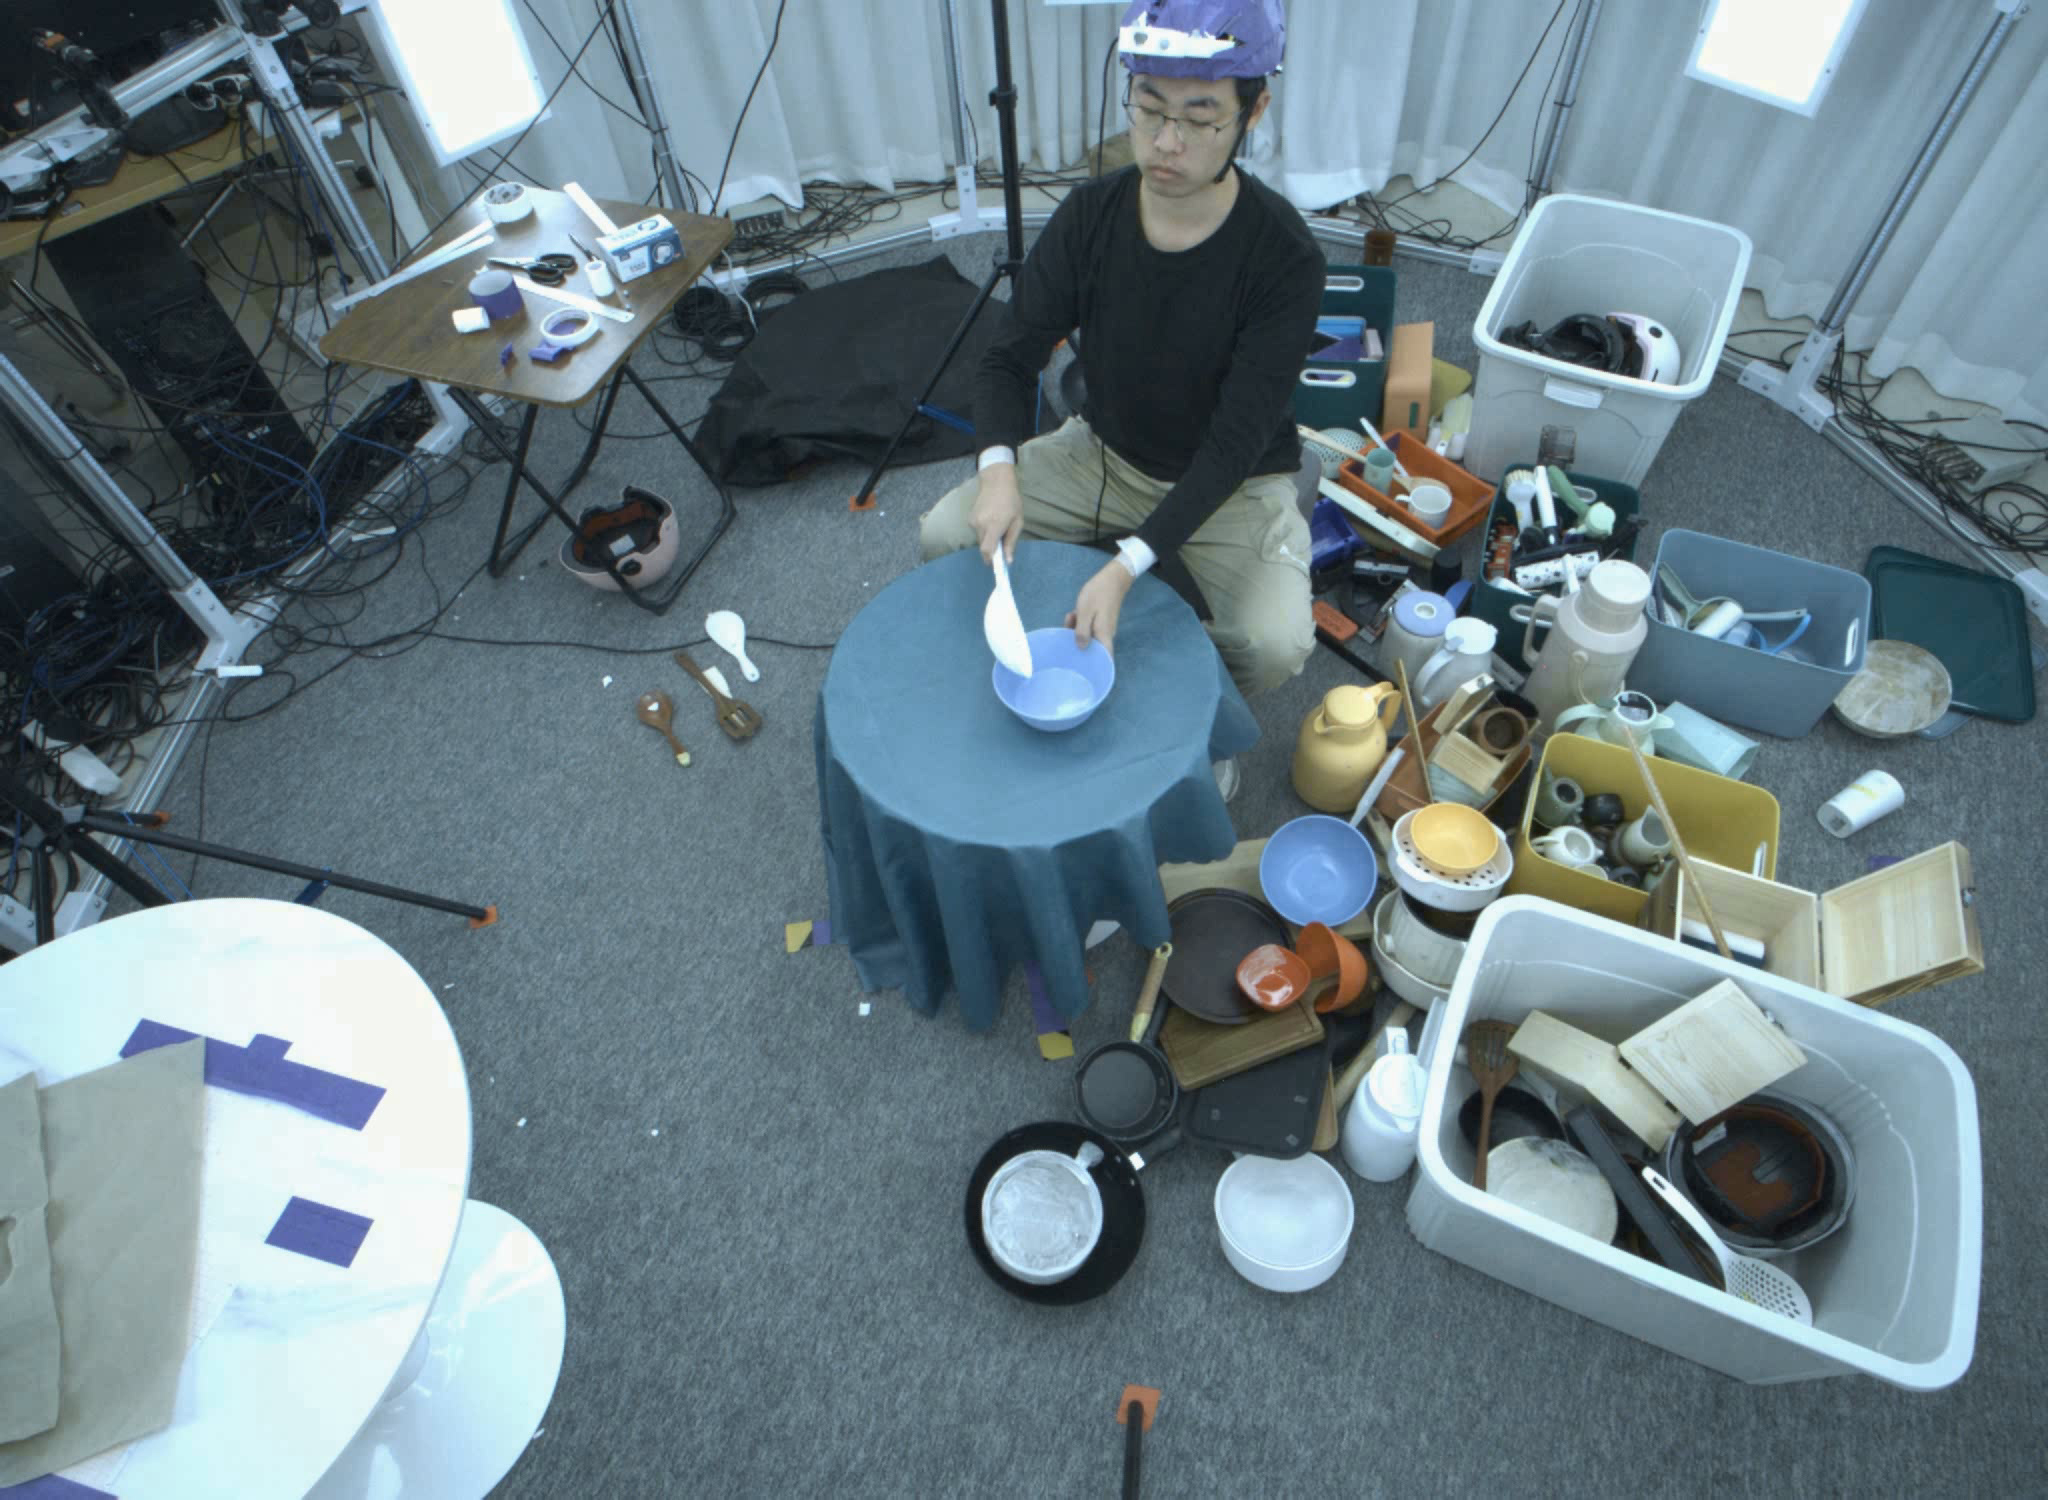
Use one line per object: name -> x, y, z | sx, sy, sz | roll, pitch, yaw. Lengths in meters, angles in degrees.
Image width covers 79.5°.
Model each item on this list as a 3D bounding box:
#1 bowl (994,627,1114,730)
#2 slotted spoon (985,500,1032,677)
bowl -> 0.045, -0.095, 1.809 | 0.176, 0.071, 0.174 | 0, 53, 2
slotted spoon -> -0.032, -0.251, 1.823 | 0.045, 0.139, 0.345 | -13, 52, 14
